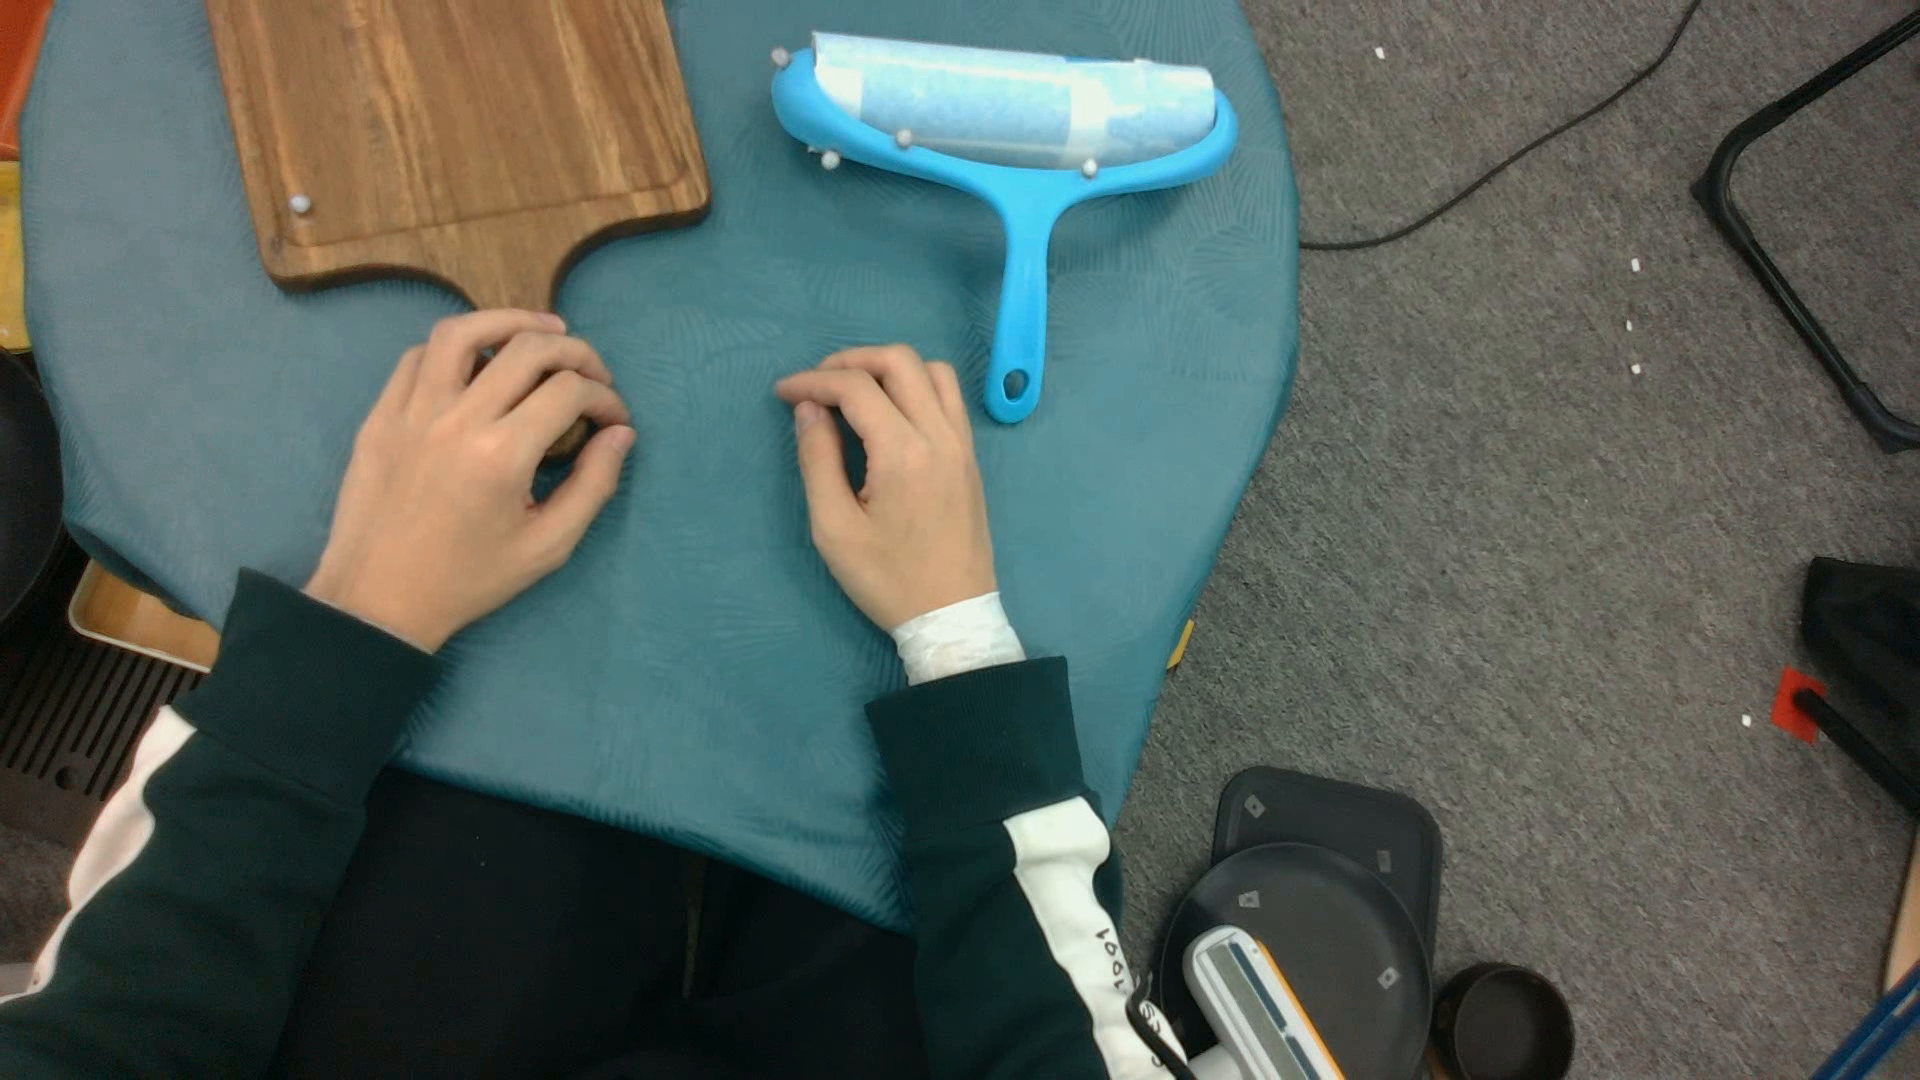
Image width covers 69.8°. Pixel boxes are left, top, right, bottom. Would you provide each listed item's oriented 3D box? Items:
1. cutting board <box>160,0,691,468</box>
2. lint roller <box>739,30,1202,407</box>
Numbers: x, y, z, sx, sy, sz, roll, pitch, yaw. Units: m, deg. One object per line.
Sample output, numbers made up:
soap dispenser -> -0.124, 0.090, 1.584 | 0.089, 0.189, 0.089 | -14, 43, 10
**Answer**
cutting board -> -0.240, -0.199, 0.630 | 0.201, 0.023, 0.352 | -17, 83, -15
lint roller -> 0.015, -0.159, 0.661 | 0.229, 0.068, 0.180 | -4, 79, -15
